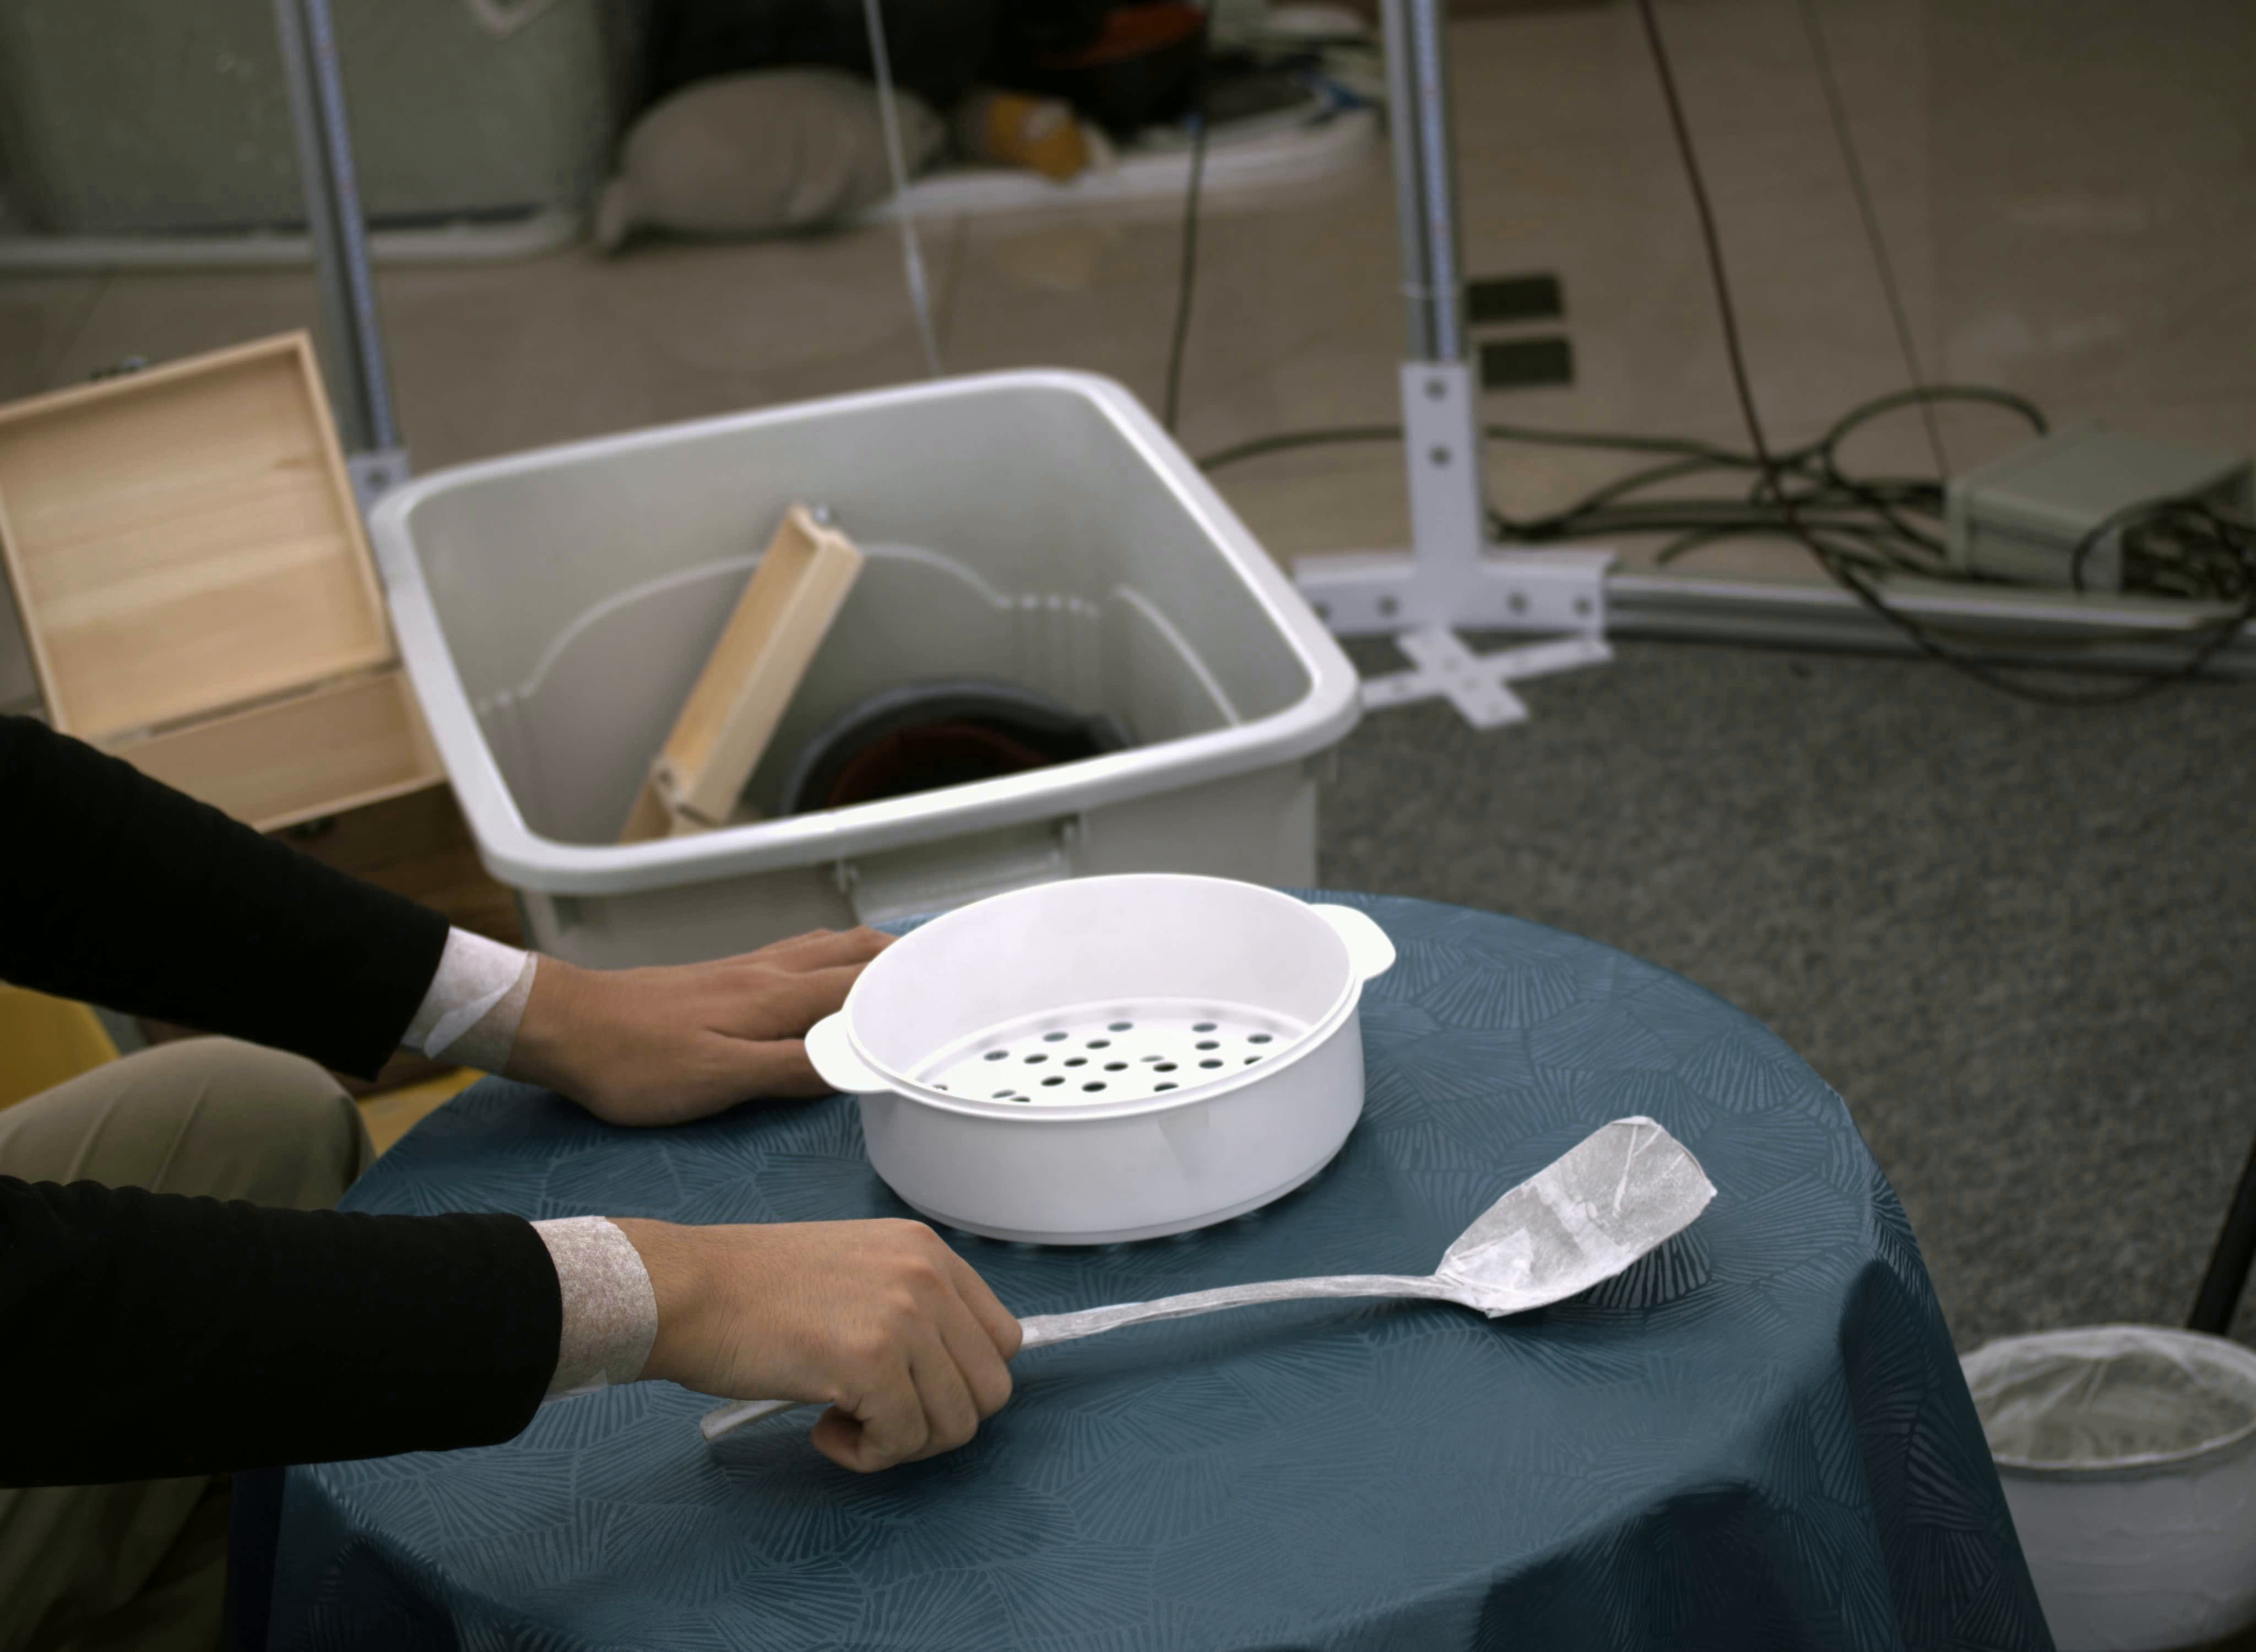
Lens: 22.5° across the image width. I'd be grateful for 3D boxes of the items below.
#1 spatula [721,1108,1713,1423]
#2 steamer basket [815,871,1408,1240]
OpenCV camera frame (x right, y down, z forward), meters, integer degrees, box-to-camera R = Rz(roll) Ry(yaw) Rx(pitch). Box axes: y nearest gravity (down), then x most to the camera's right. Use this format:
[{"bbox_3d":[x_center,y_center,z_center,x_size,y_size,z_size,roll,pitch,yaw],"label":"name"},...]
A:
[{"bbox_3d":[0.032,0.165,2.033,0.364,0.045,0.097,-9,23,-9],"label":"spatula"},{"bbox_3d":[-0.002,0.088,2.173,0.230,0.070,0.199,-13,25,-12],"label":"steamer basket"}]
